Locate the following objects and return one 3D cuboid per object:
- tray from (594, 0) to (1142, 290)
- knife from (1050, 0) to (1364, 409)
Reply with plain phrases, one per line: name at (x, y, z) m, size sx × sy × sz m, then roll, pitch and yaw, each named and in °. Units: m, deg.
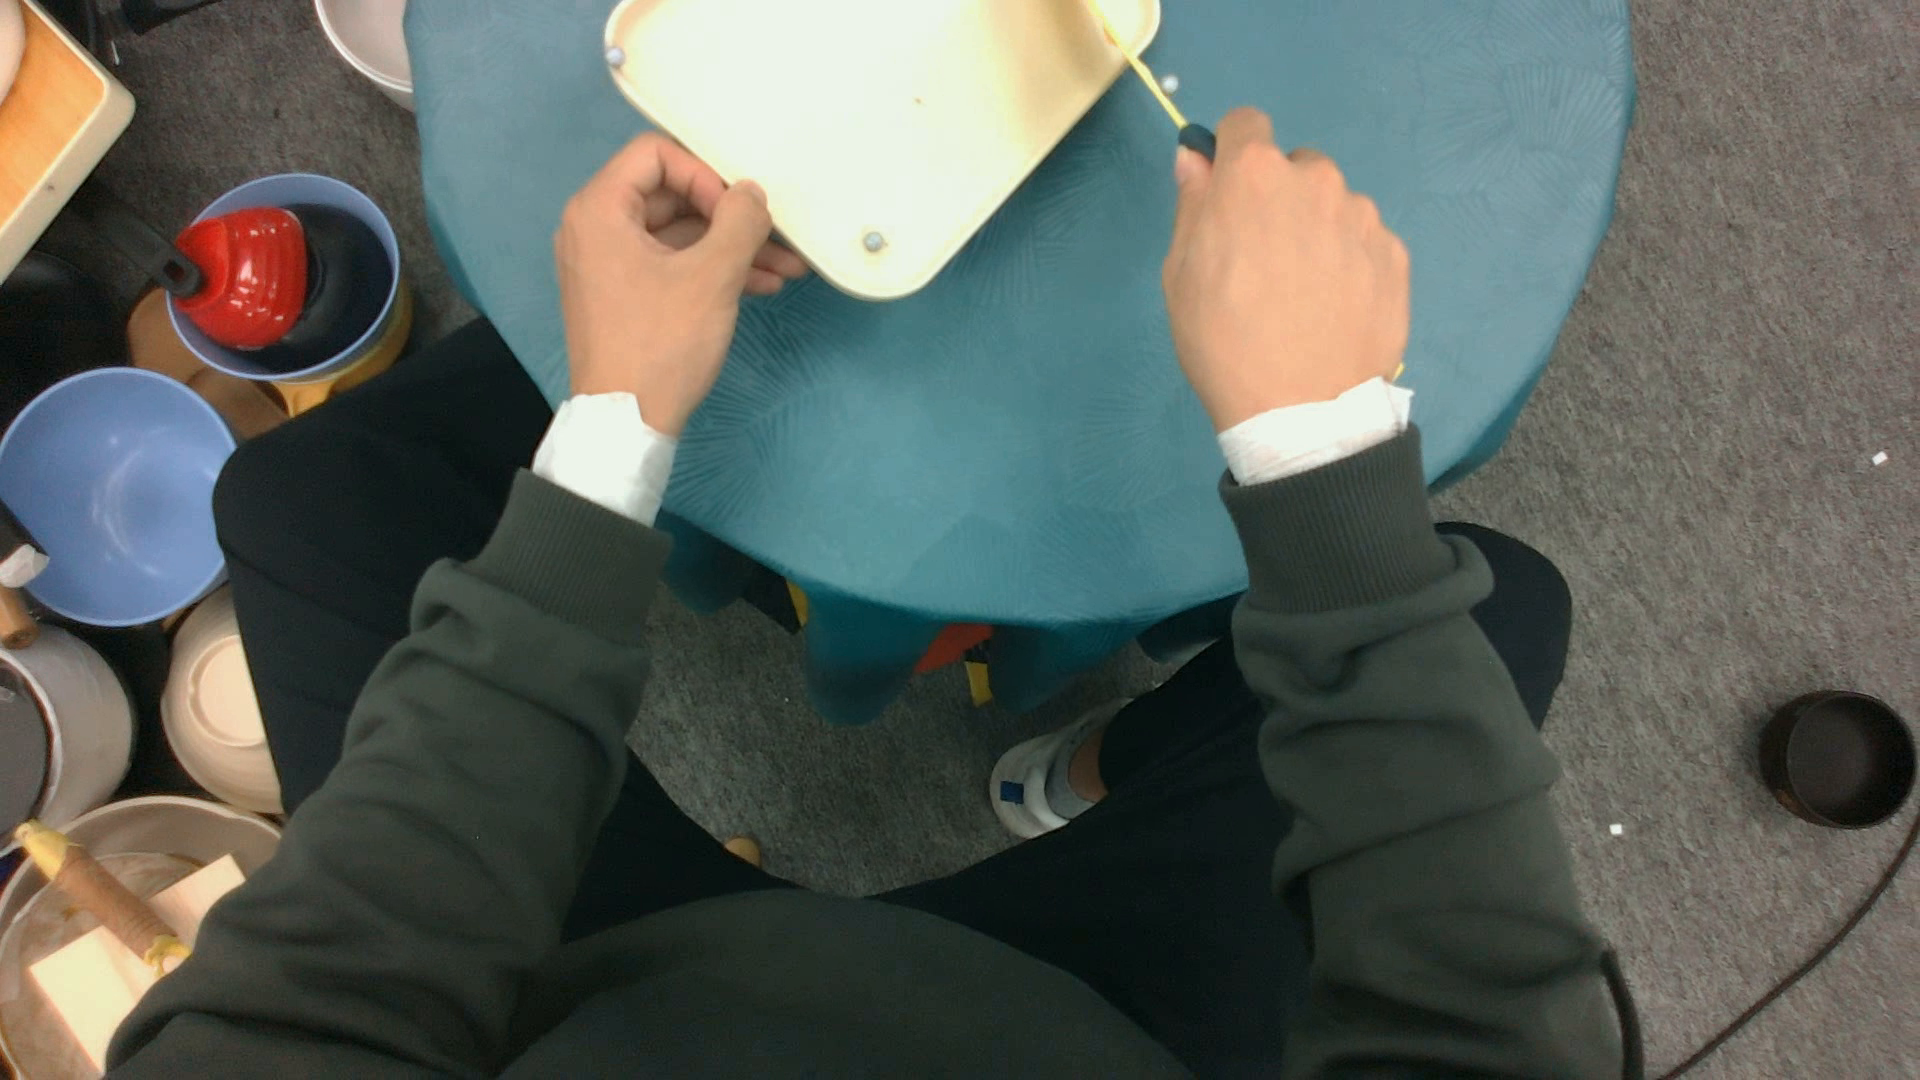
tray at (-0.033, -0.232, 0.622) m, size 0.171 × 0.017 × 0.240 m, roll 42°, pitch 65°, yaw -6°
knife at (0.091, -0.169, 0.591) m, size 0.027 × 0.081 × 0.290 m, roll -39°, pitch 63°, yaw 24°
